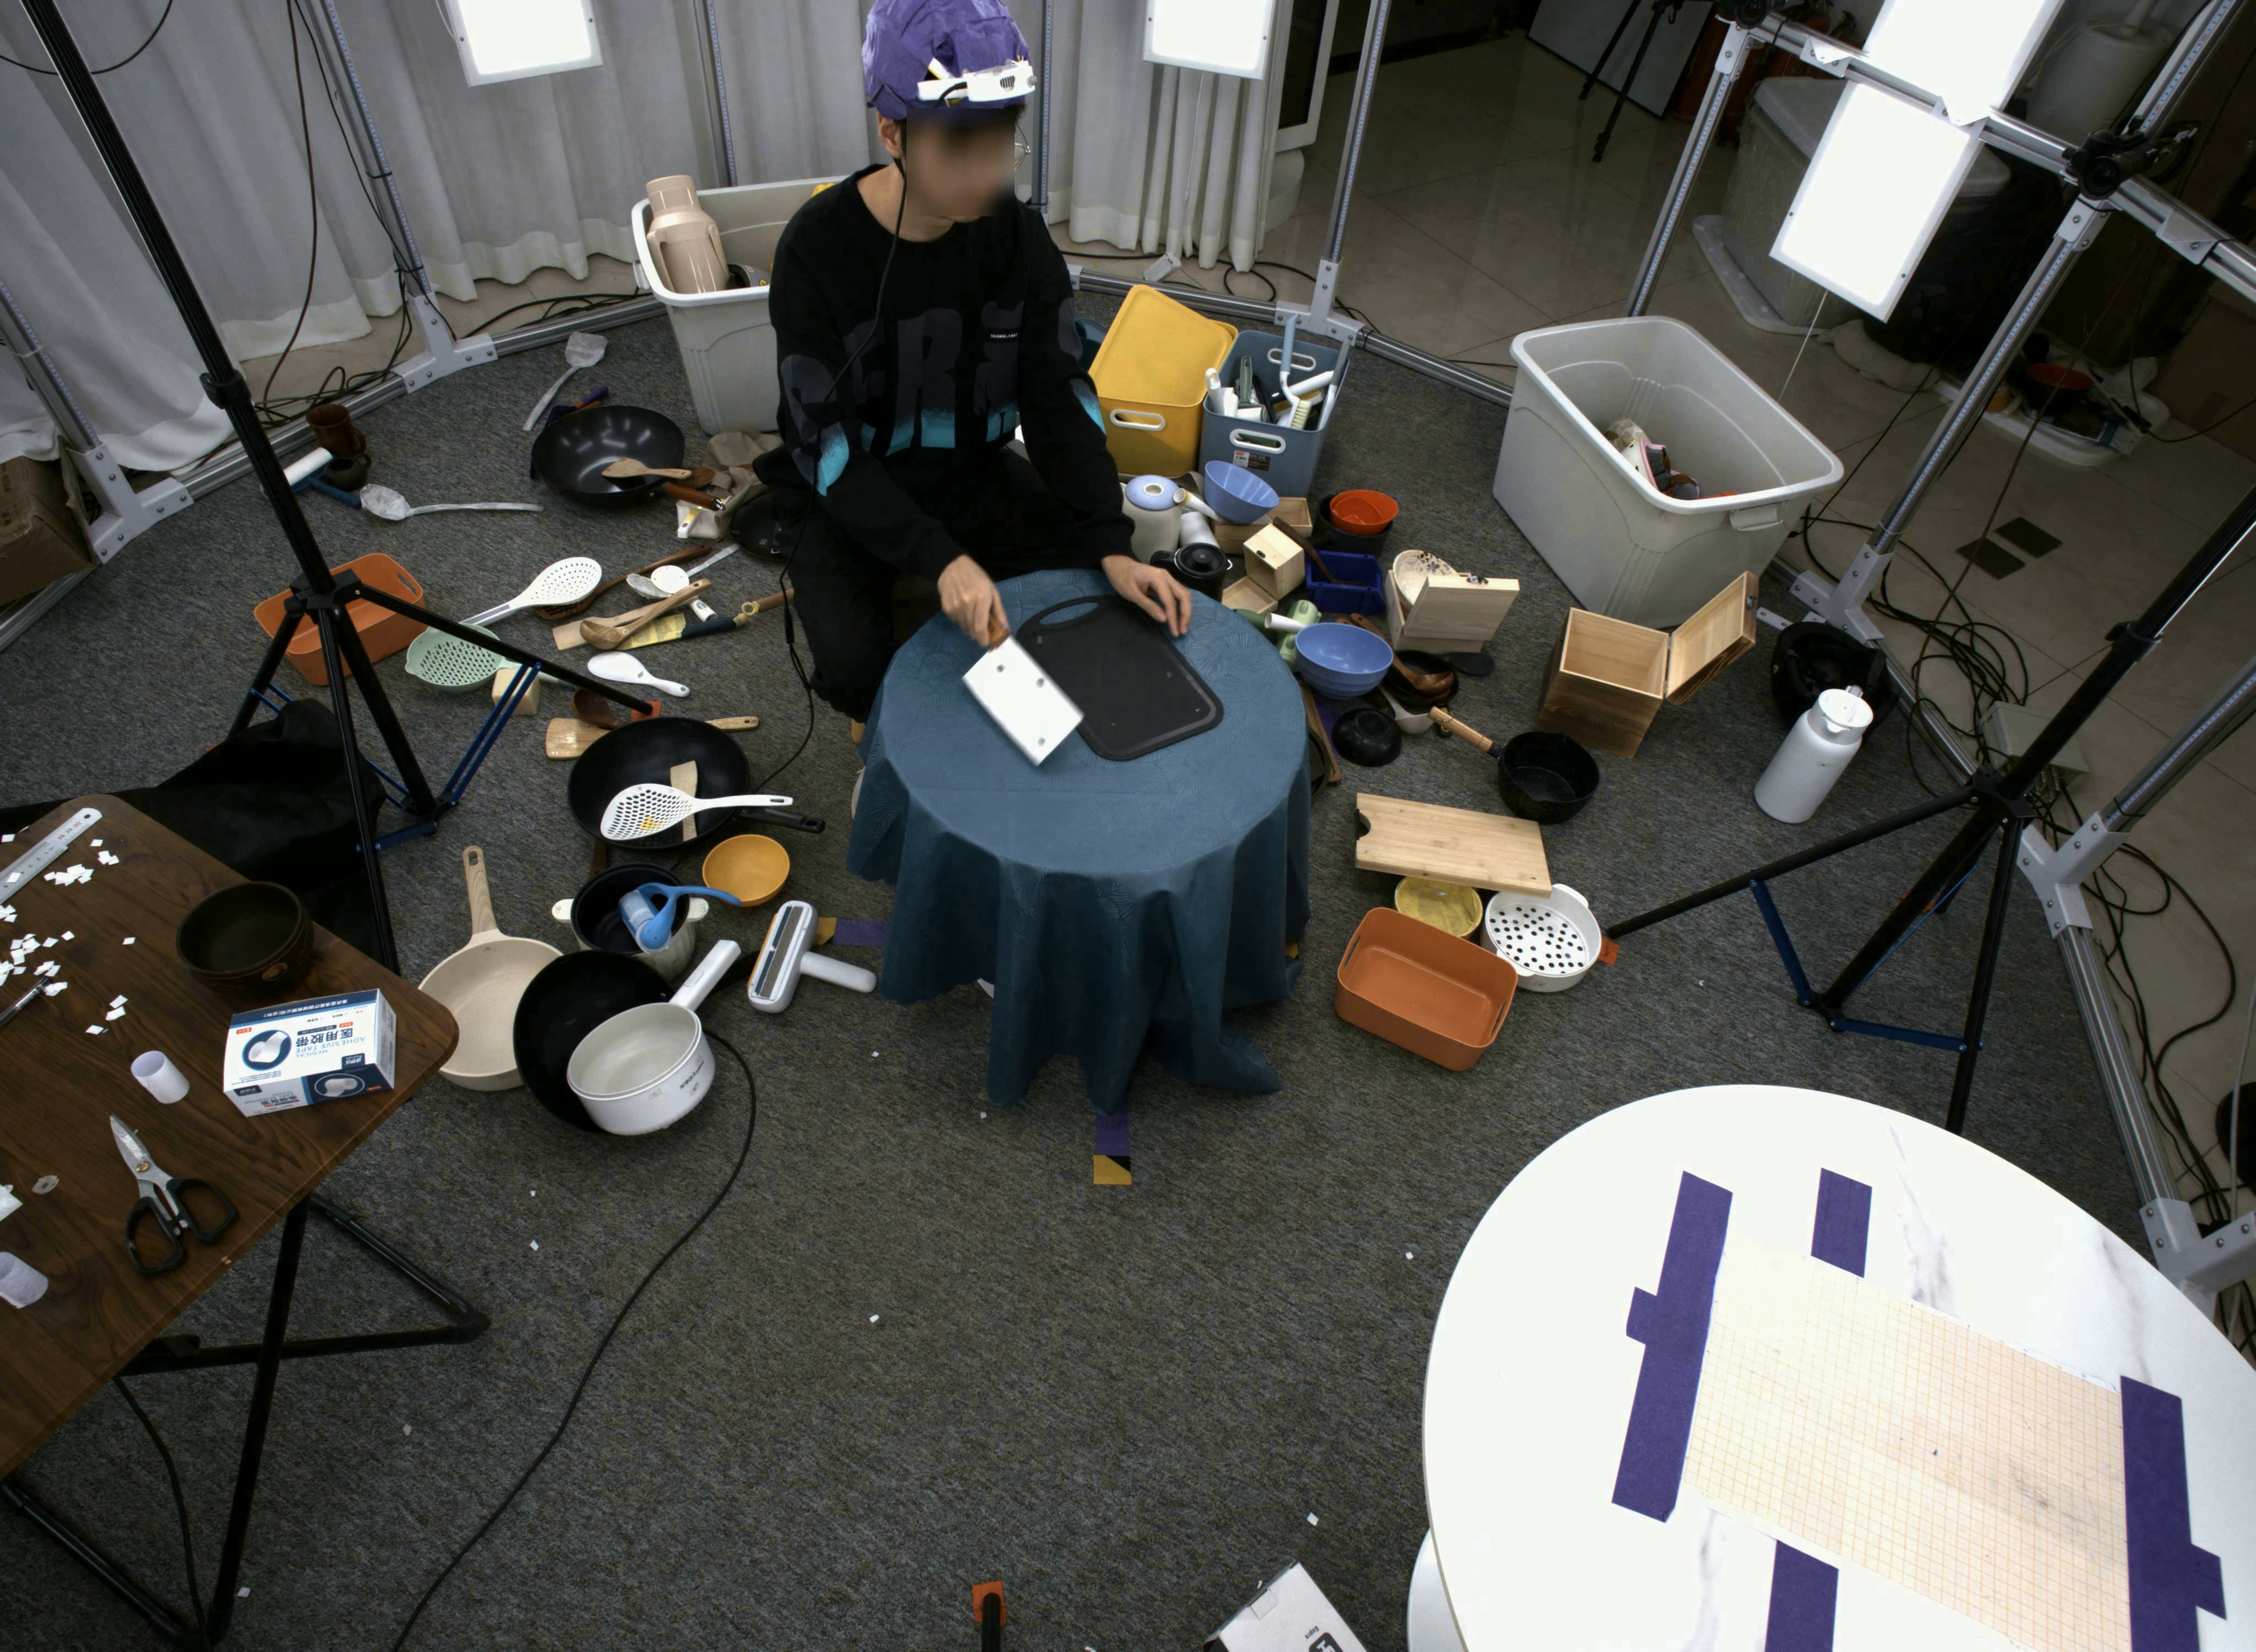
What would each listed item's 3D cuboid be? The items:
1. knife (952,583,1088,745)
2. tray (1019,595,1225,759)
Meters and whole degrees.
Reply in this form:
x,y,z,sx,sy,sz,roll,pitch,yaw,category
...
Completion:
x,y,z,sx,sy,sz,roll,pitch,yaw,category
-0.168,-0.223,1.783,0.092,0.020,0.311,-47,60,8,knife
-0.016,-0.227,1.860,0.211,0.009,0.332,-21,54,-20,tray
